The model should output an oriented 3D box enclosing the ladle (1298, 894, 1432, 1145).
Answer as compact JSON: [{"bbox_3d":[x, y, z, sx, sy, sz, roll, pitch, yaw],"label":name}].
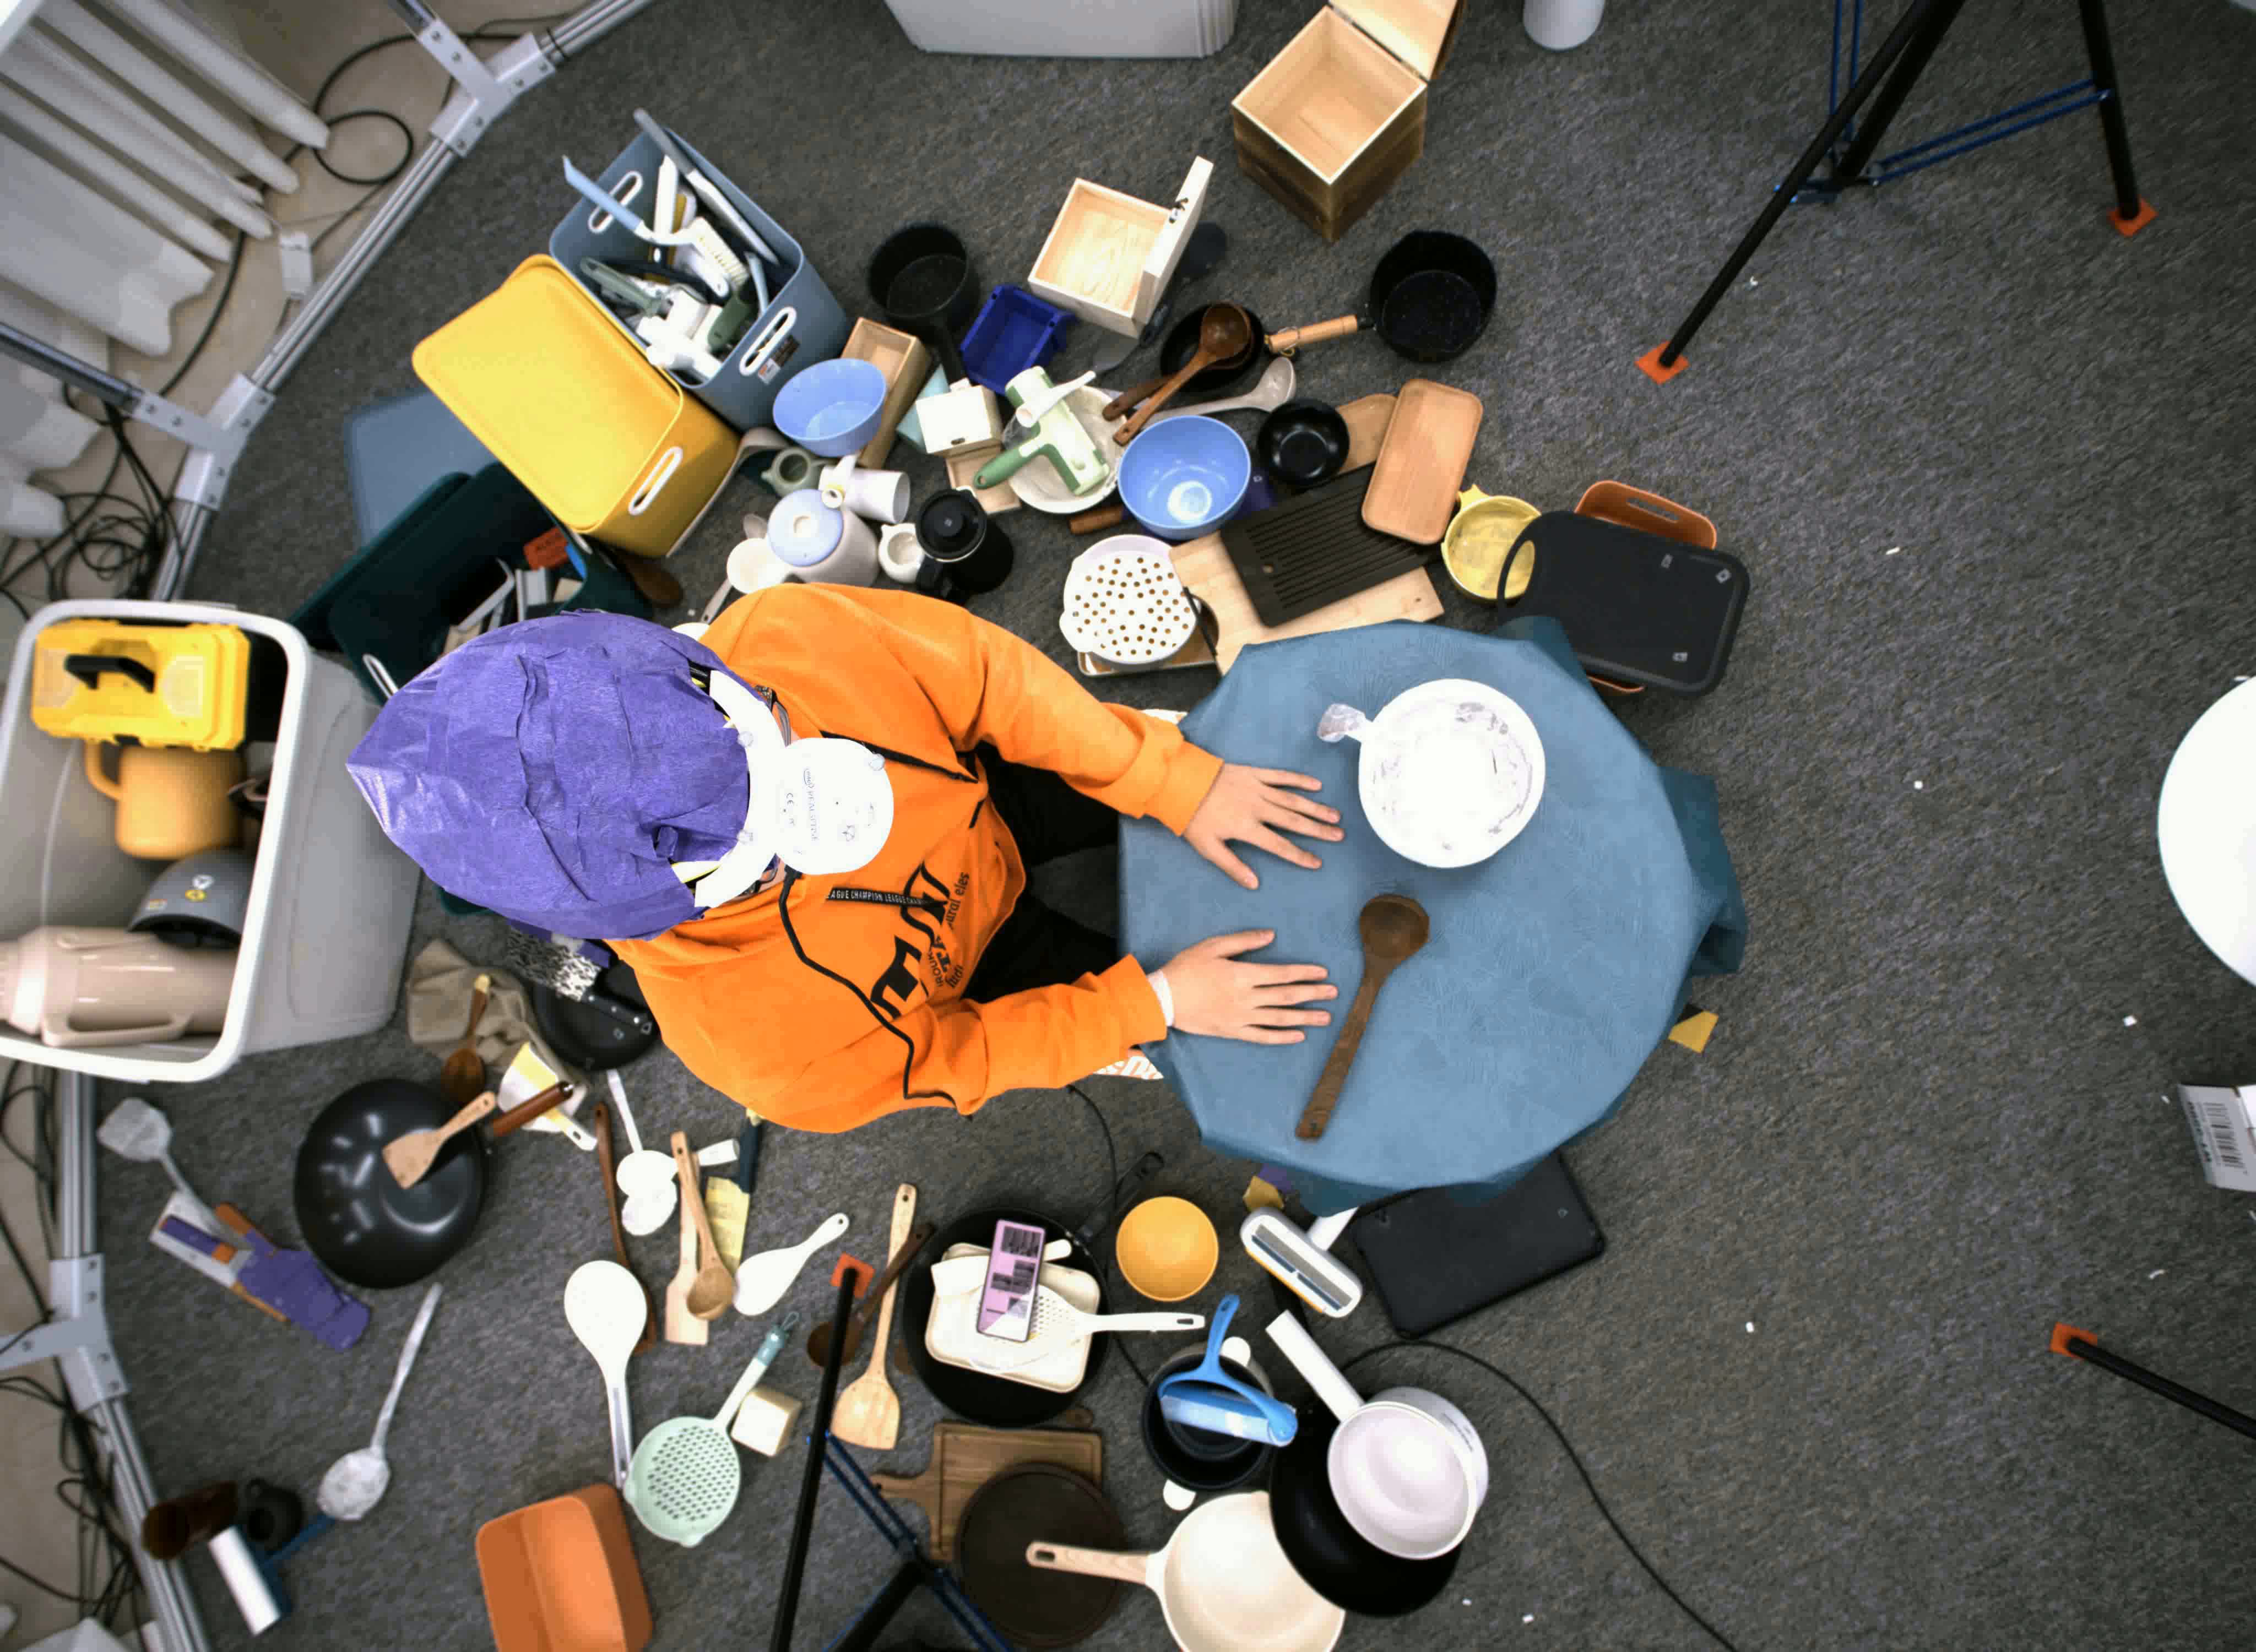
[{"bbox_3d":[0.235,0.200,1.424,0.076,0.071,0.274,23,90,14],"label":"ladle"}]

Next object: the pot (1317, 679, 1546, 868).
[{"bbox_3d":[0.298,-0.062,1.393,0.233,0.137,0.179,27,90,11],"label":"pot"}]
